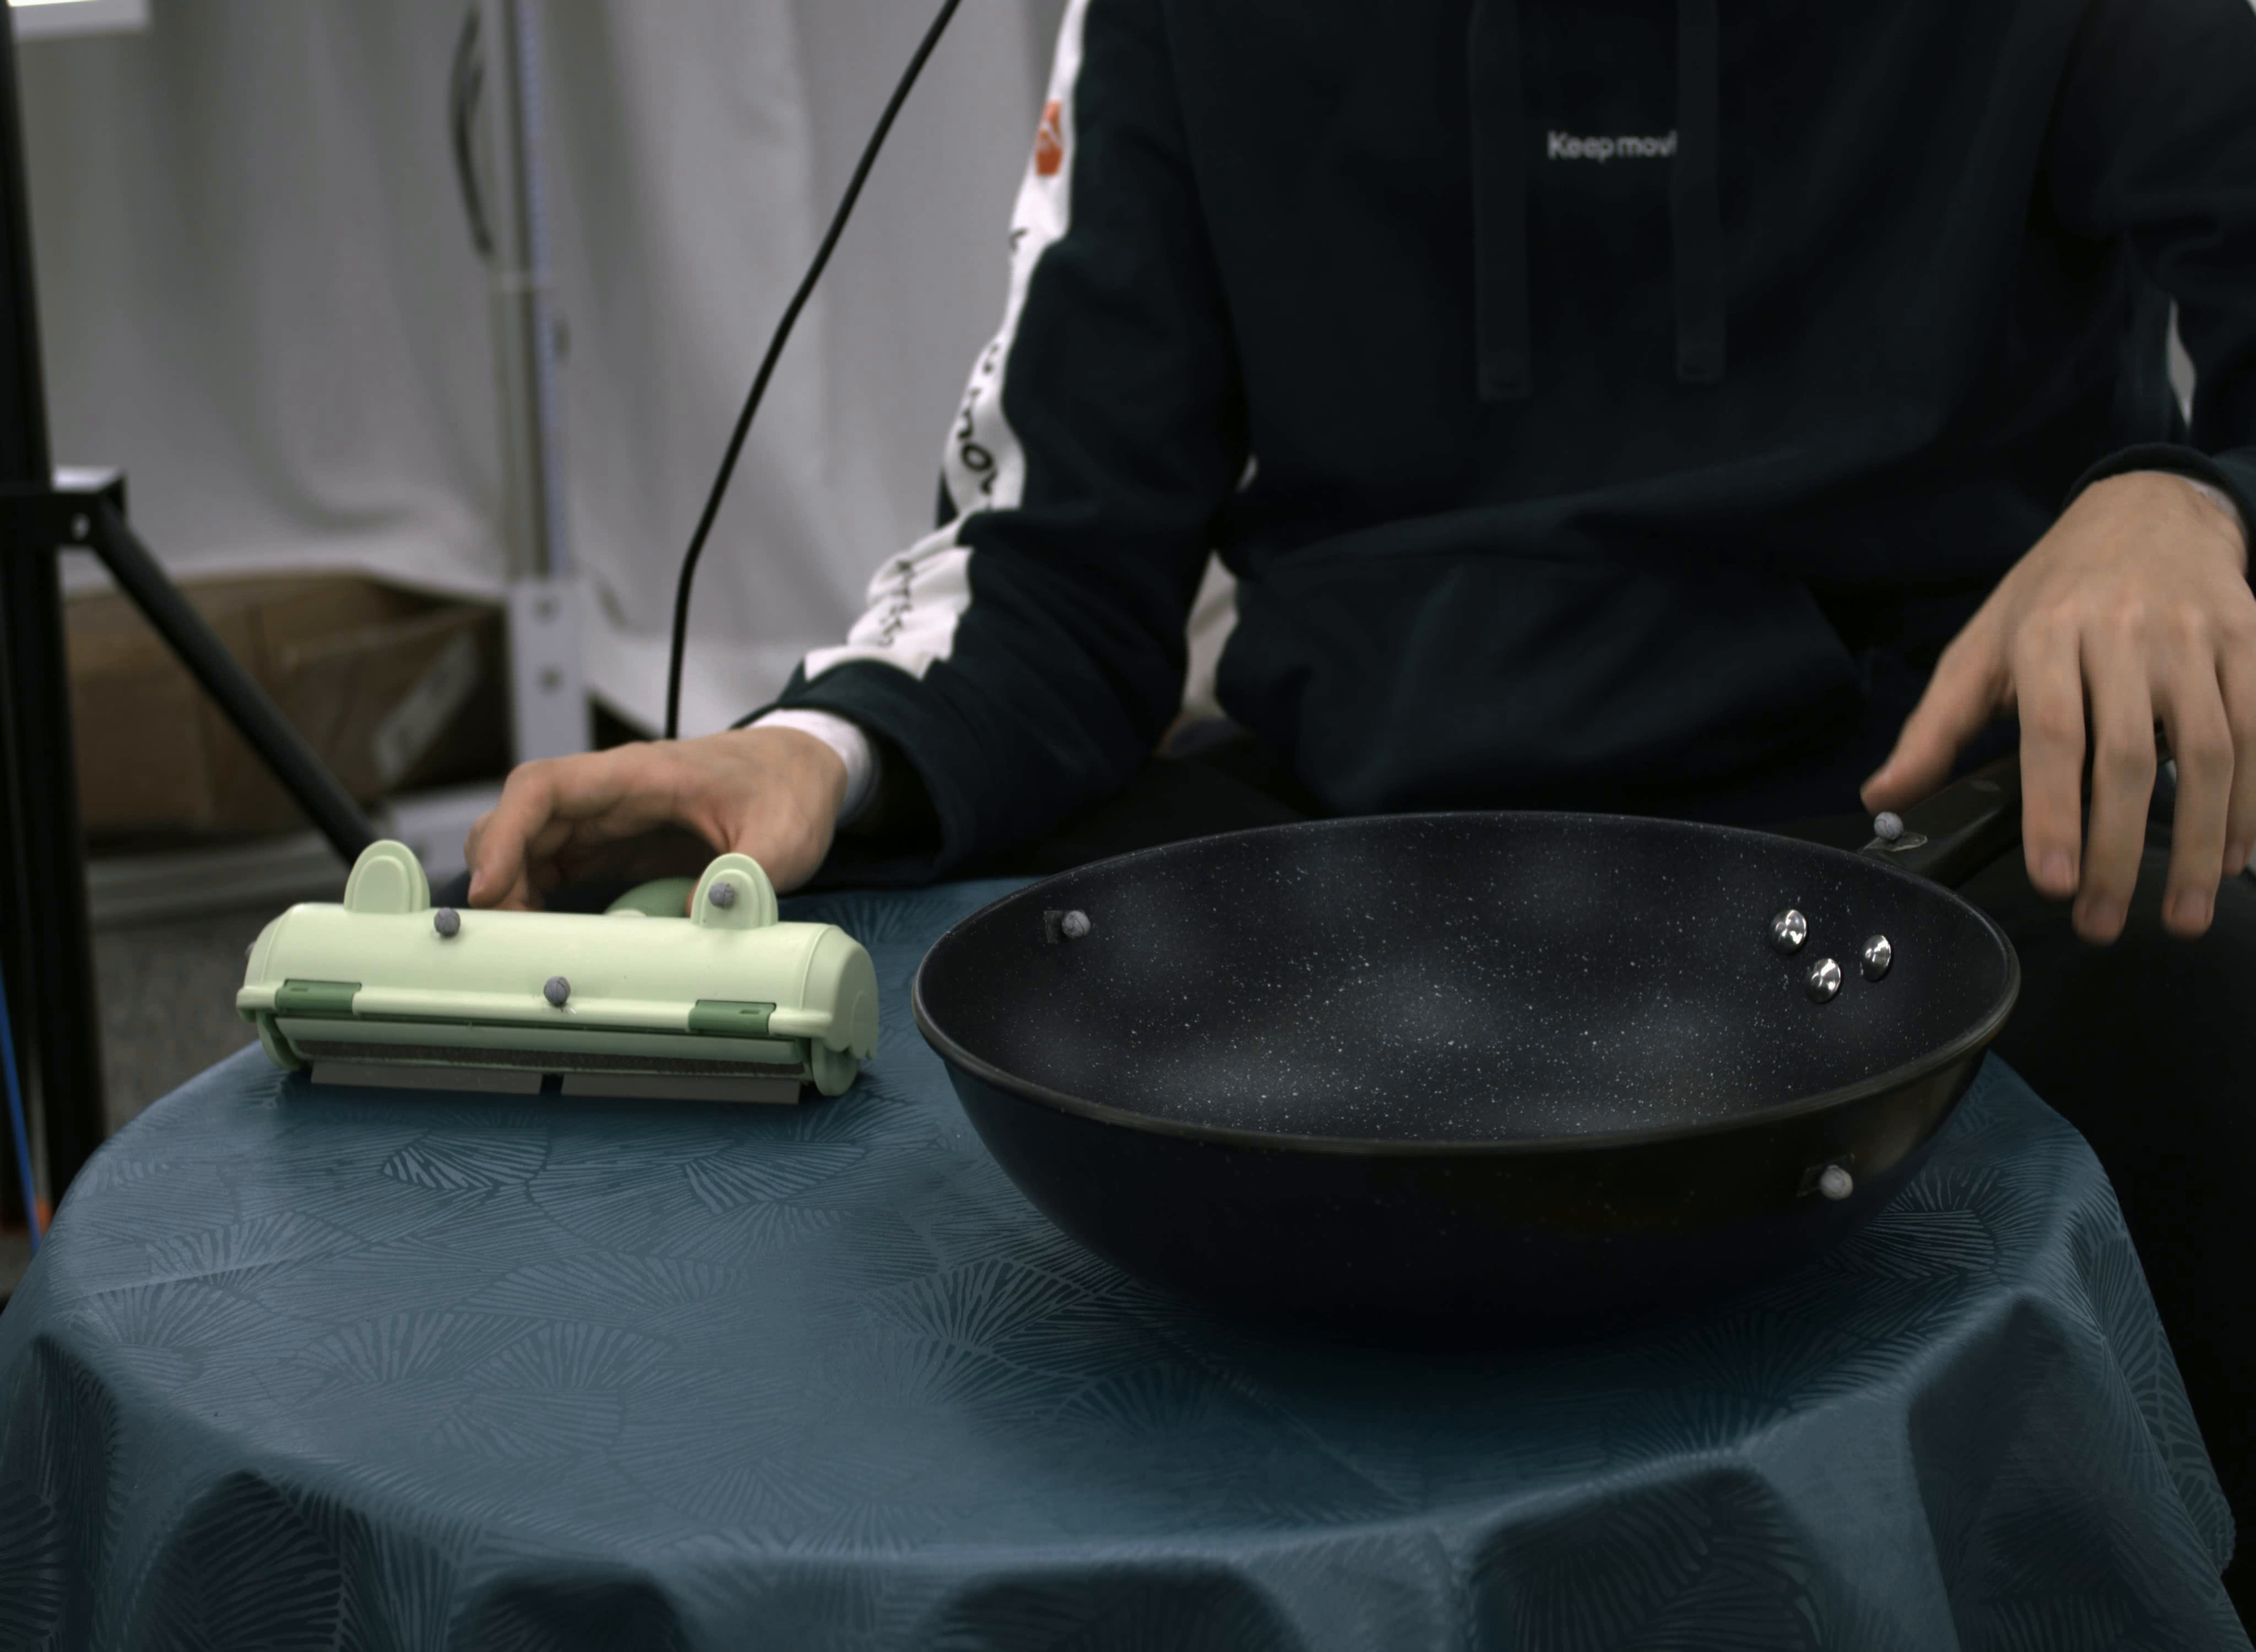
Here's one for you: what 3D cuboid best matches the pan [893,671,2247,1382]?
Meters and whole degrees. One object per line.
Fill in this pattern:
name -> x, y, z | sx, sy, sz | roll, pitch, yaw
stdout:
pan -> 0.156, 0.055, 1.525 | 0.466, 0.111, 0.317 | -14, 21, -34

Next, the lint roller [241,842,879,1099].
lint roller -> -0.165, 0.029, 1.728 | 0.200, 0.082, 0.182 | 1, 21, 16
